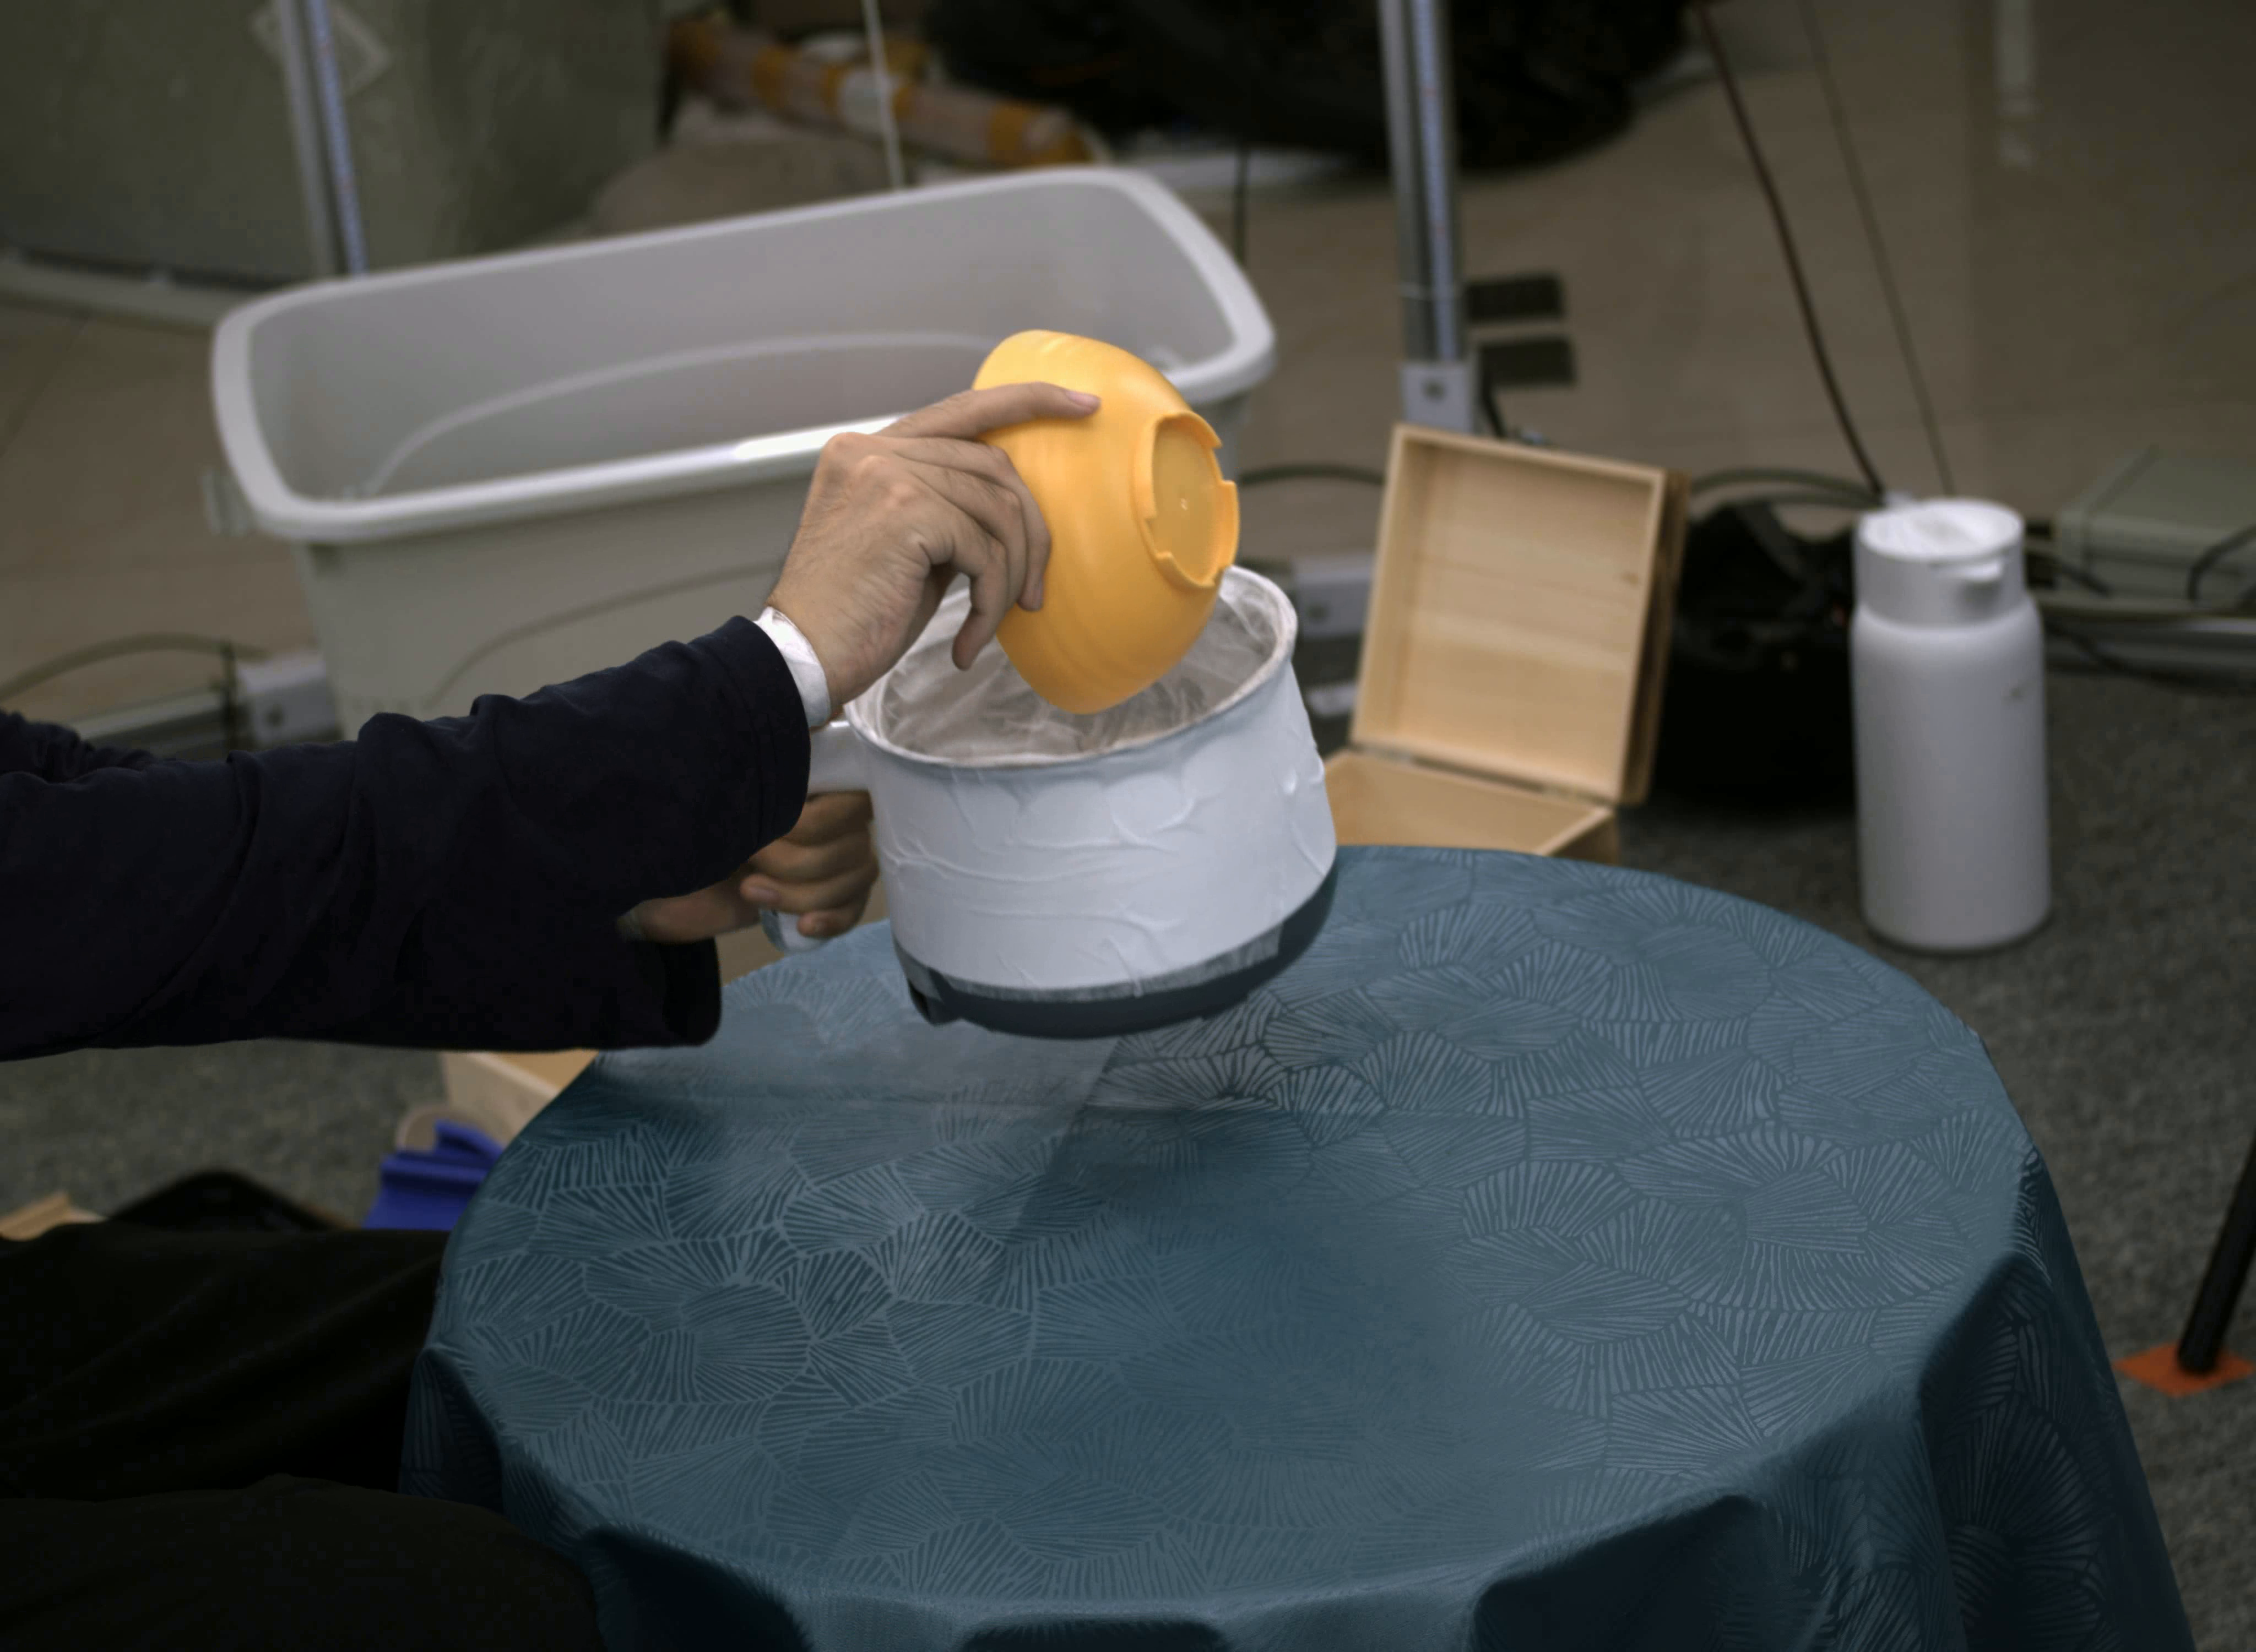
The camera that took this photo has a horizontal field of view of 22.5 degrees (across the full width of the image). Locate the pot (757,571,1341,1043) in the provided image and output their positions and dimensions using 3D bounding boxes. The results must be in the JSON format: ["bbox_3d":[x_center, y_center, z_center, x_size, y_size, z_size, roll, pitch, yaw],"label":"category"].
[{"bbox_3d":[-0.036,-0.005,2.197,0.233,0.139,0.176,-4,26,13],"label":"pot"}]

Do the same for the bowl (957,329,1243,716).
[{"bbox_3d":[0.001,-0.116,2.084,0.060,0.147,0.143,-7,22,31],"label":"bowl"}]
